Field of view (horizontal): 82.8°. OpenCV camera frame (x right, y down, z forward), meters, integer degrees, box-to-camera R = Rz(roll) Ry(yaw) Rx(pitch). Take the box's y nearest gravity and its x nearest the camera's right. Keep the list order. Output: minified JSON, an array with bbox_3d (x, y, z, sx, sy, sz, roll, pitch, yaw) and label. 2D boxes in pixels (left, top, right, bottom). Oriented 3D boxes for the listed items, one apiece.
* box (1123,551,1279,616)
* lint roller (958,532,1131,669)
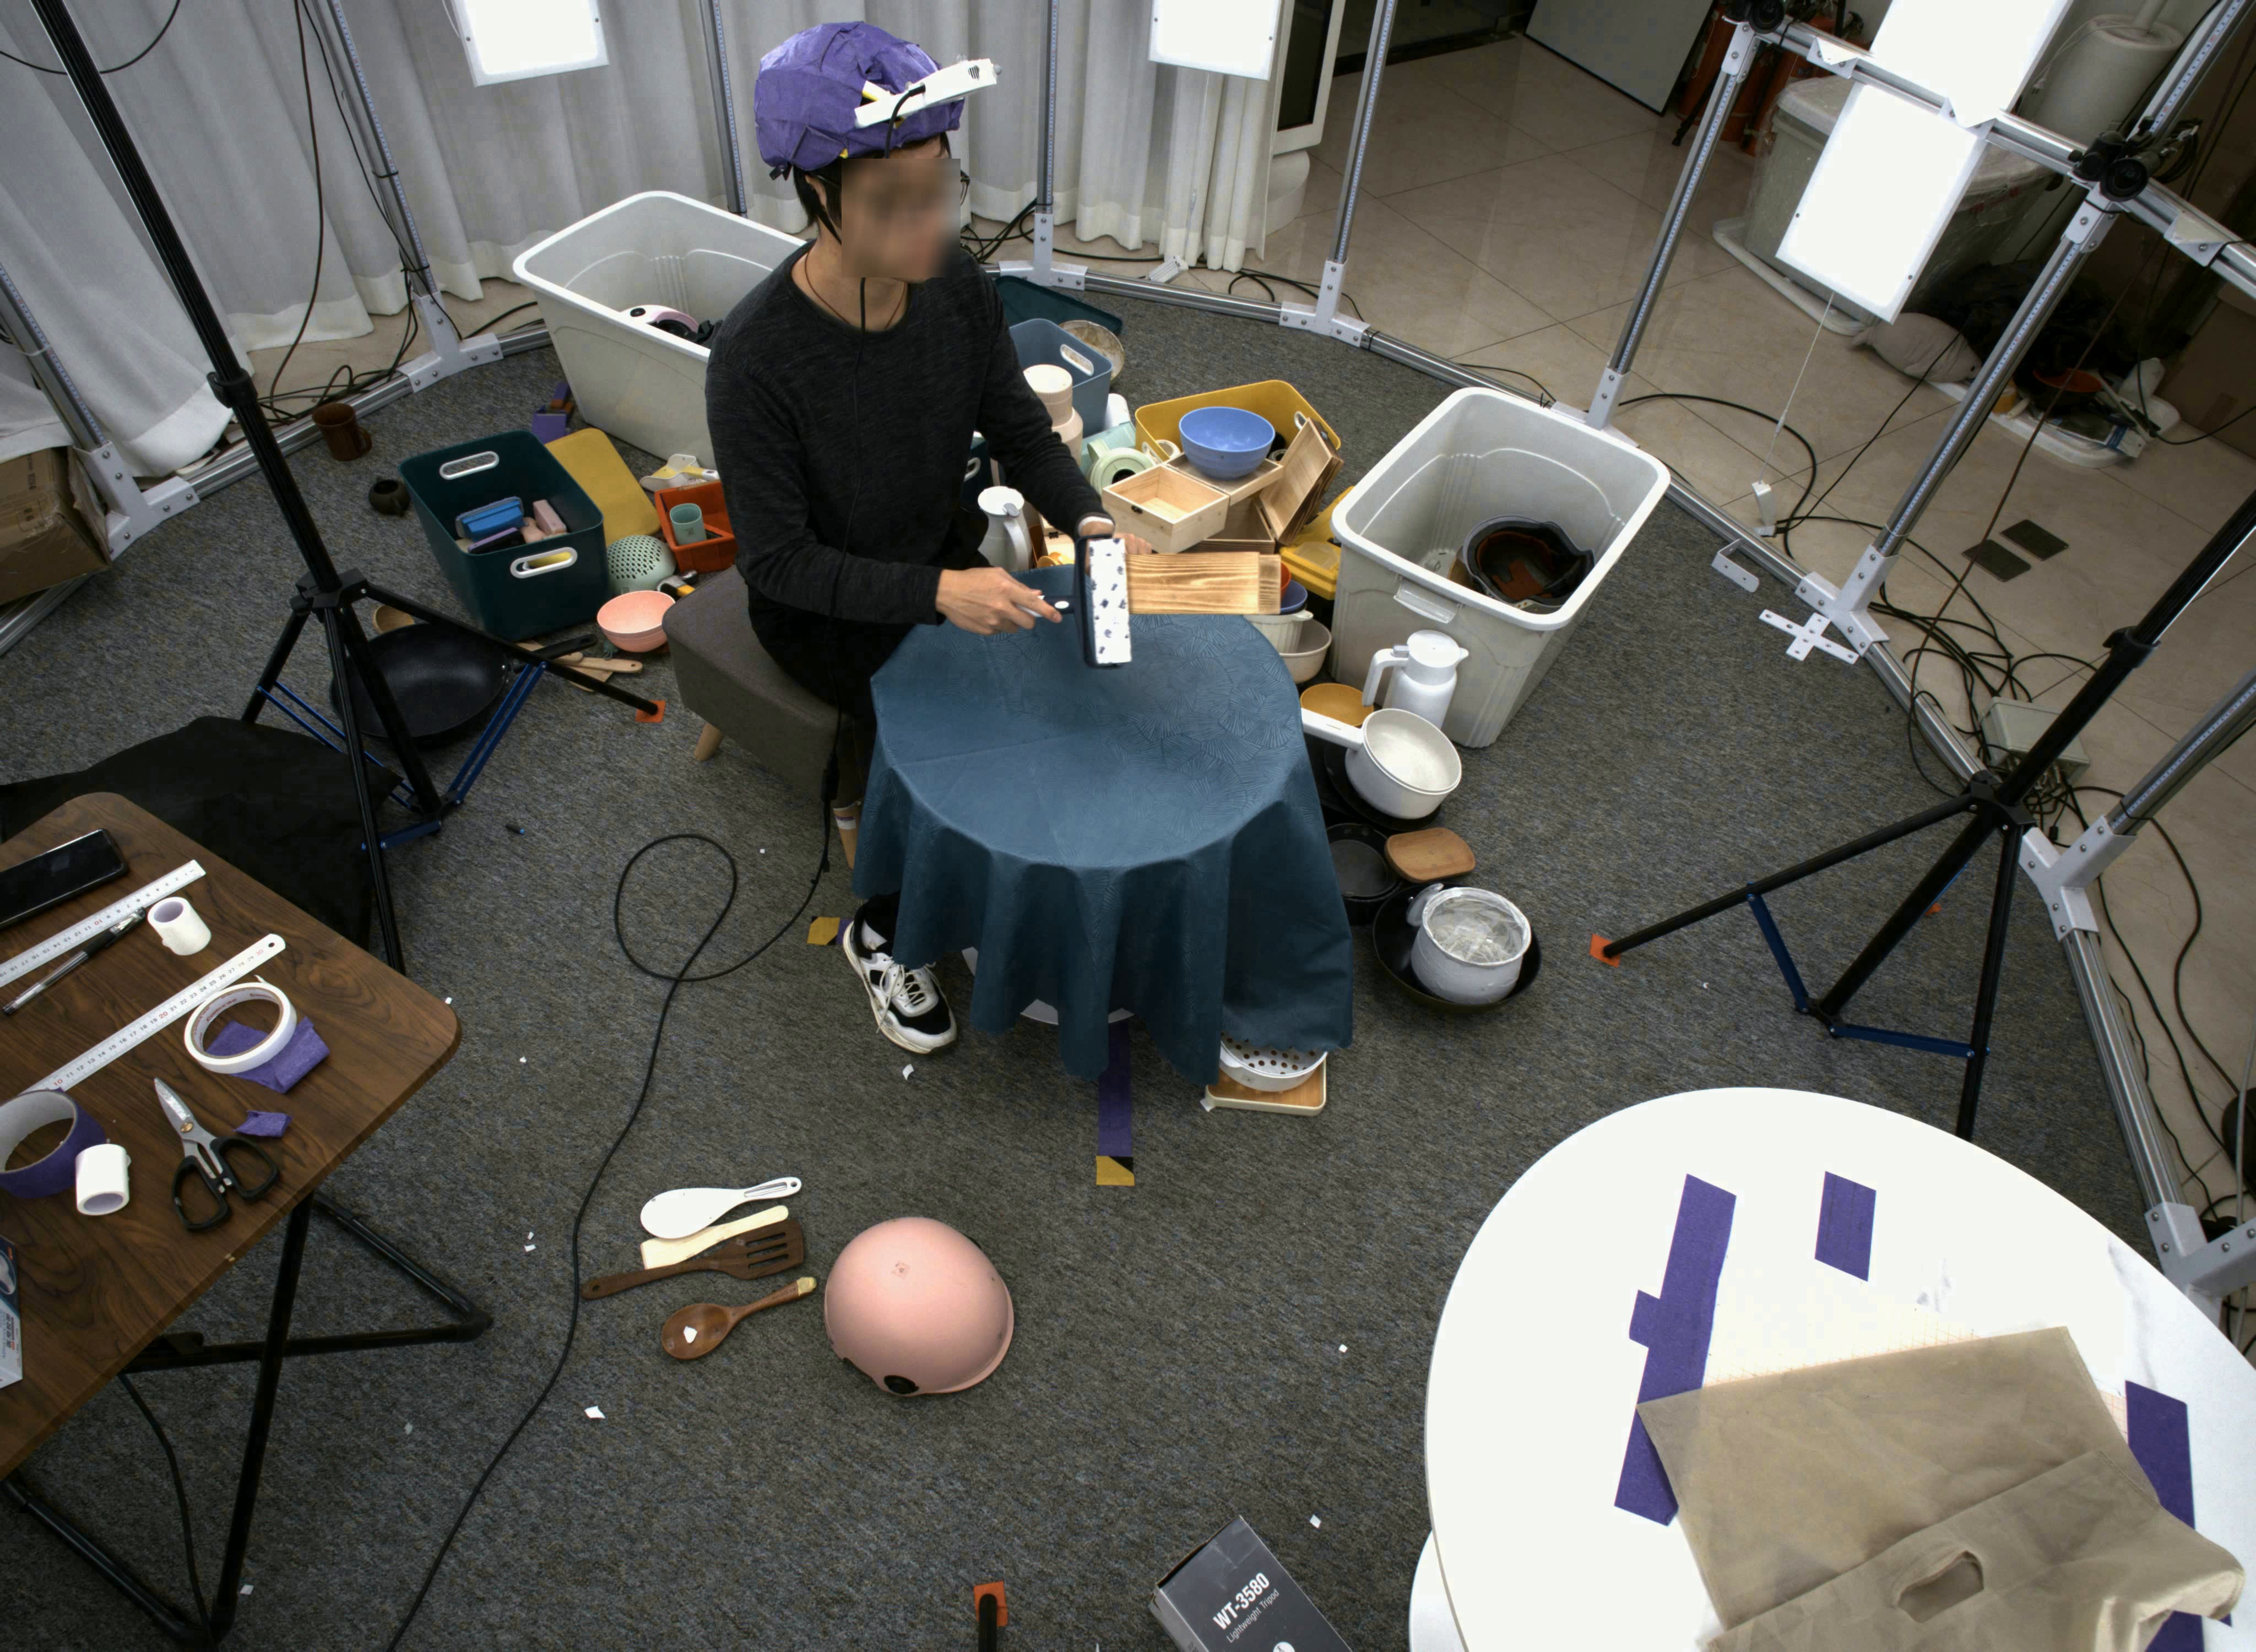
[{"bbox_3d":[0.085,-0.321,1.716,0.212,0.080,0.108,3,8,21],"label":"box"},{"bbox_3d":[-0.117,-0.291,1.714,0.247,0.175,0.050,-1,7,20],"label":"lint roller"}]
